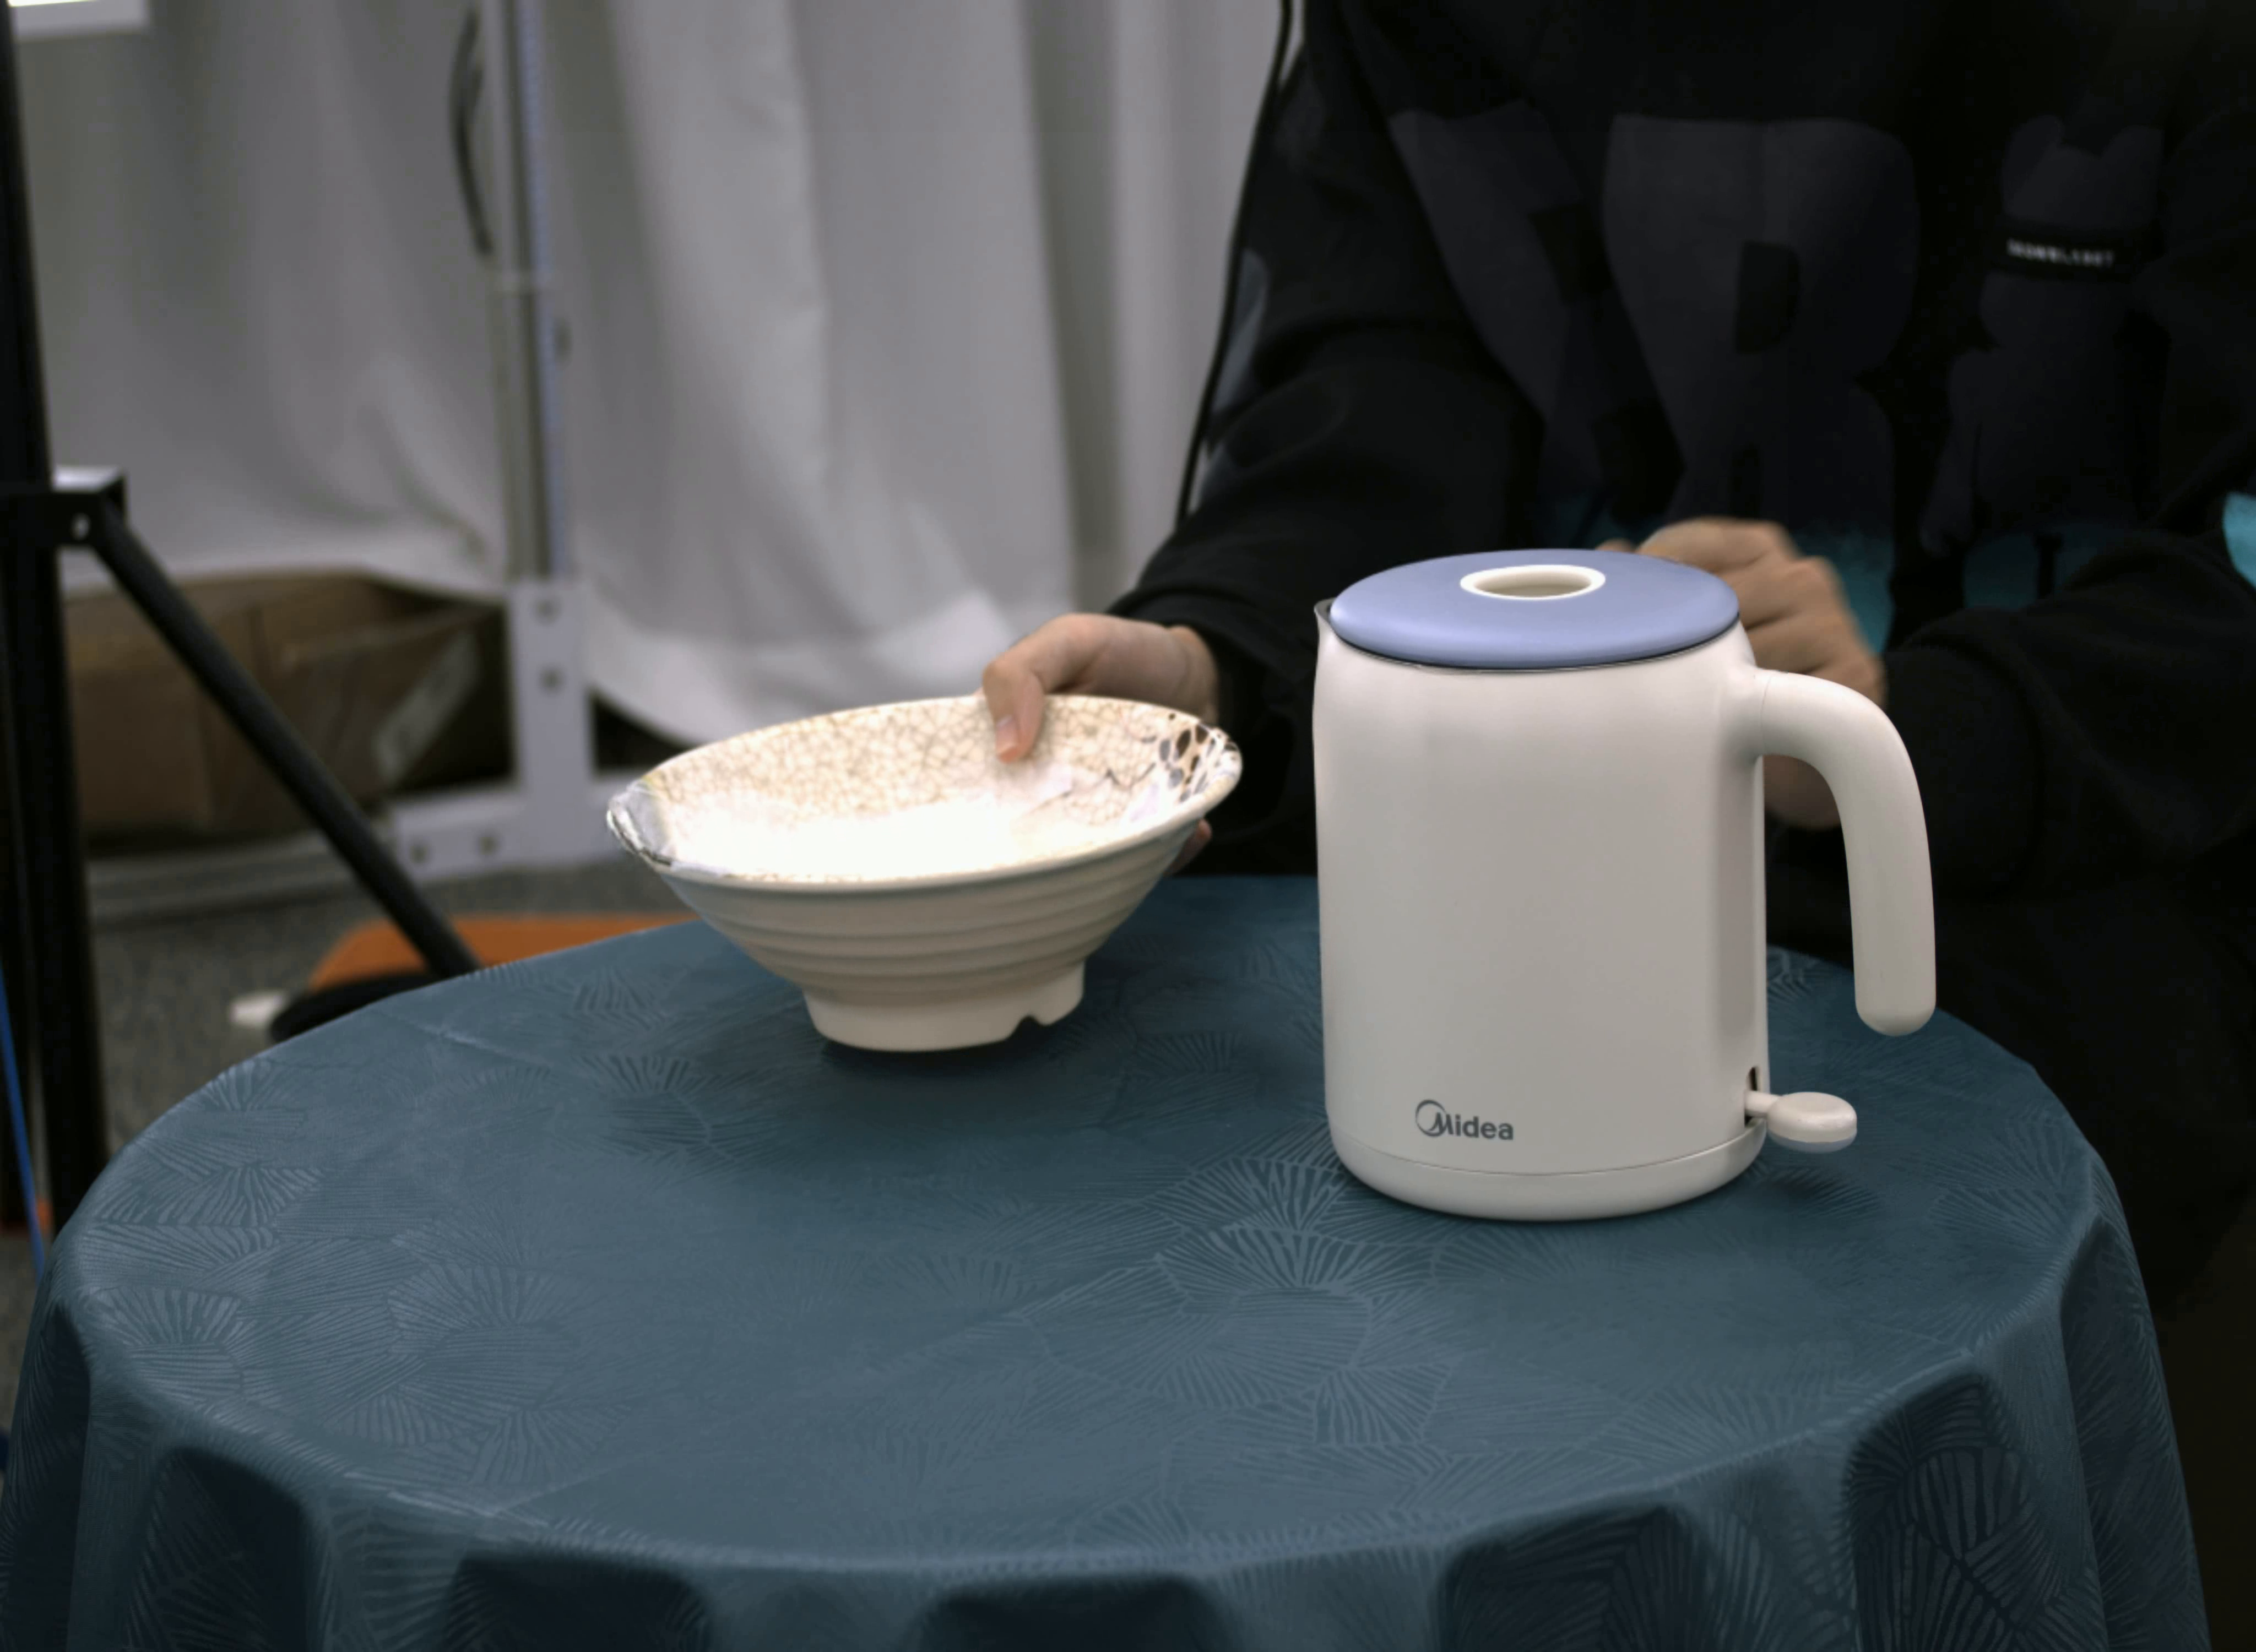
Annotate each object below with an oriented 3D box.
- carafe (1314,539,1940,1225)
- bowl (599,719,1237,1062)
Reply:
[{"bbox_3d":[0.143,0.018,1.538,0.194,0.182,0.130,7,19,24],"label":"carafe"},{"bbox_3d":[-0.065,0.026,1.700,0.203,0.078,0.205,-3,14,-1],"label":"bowl"}]
